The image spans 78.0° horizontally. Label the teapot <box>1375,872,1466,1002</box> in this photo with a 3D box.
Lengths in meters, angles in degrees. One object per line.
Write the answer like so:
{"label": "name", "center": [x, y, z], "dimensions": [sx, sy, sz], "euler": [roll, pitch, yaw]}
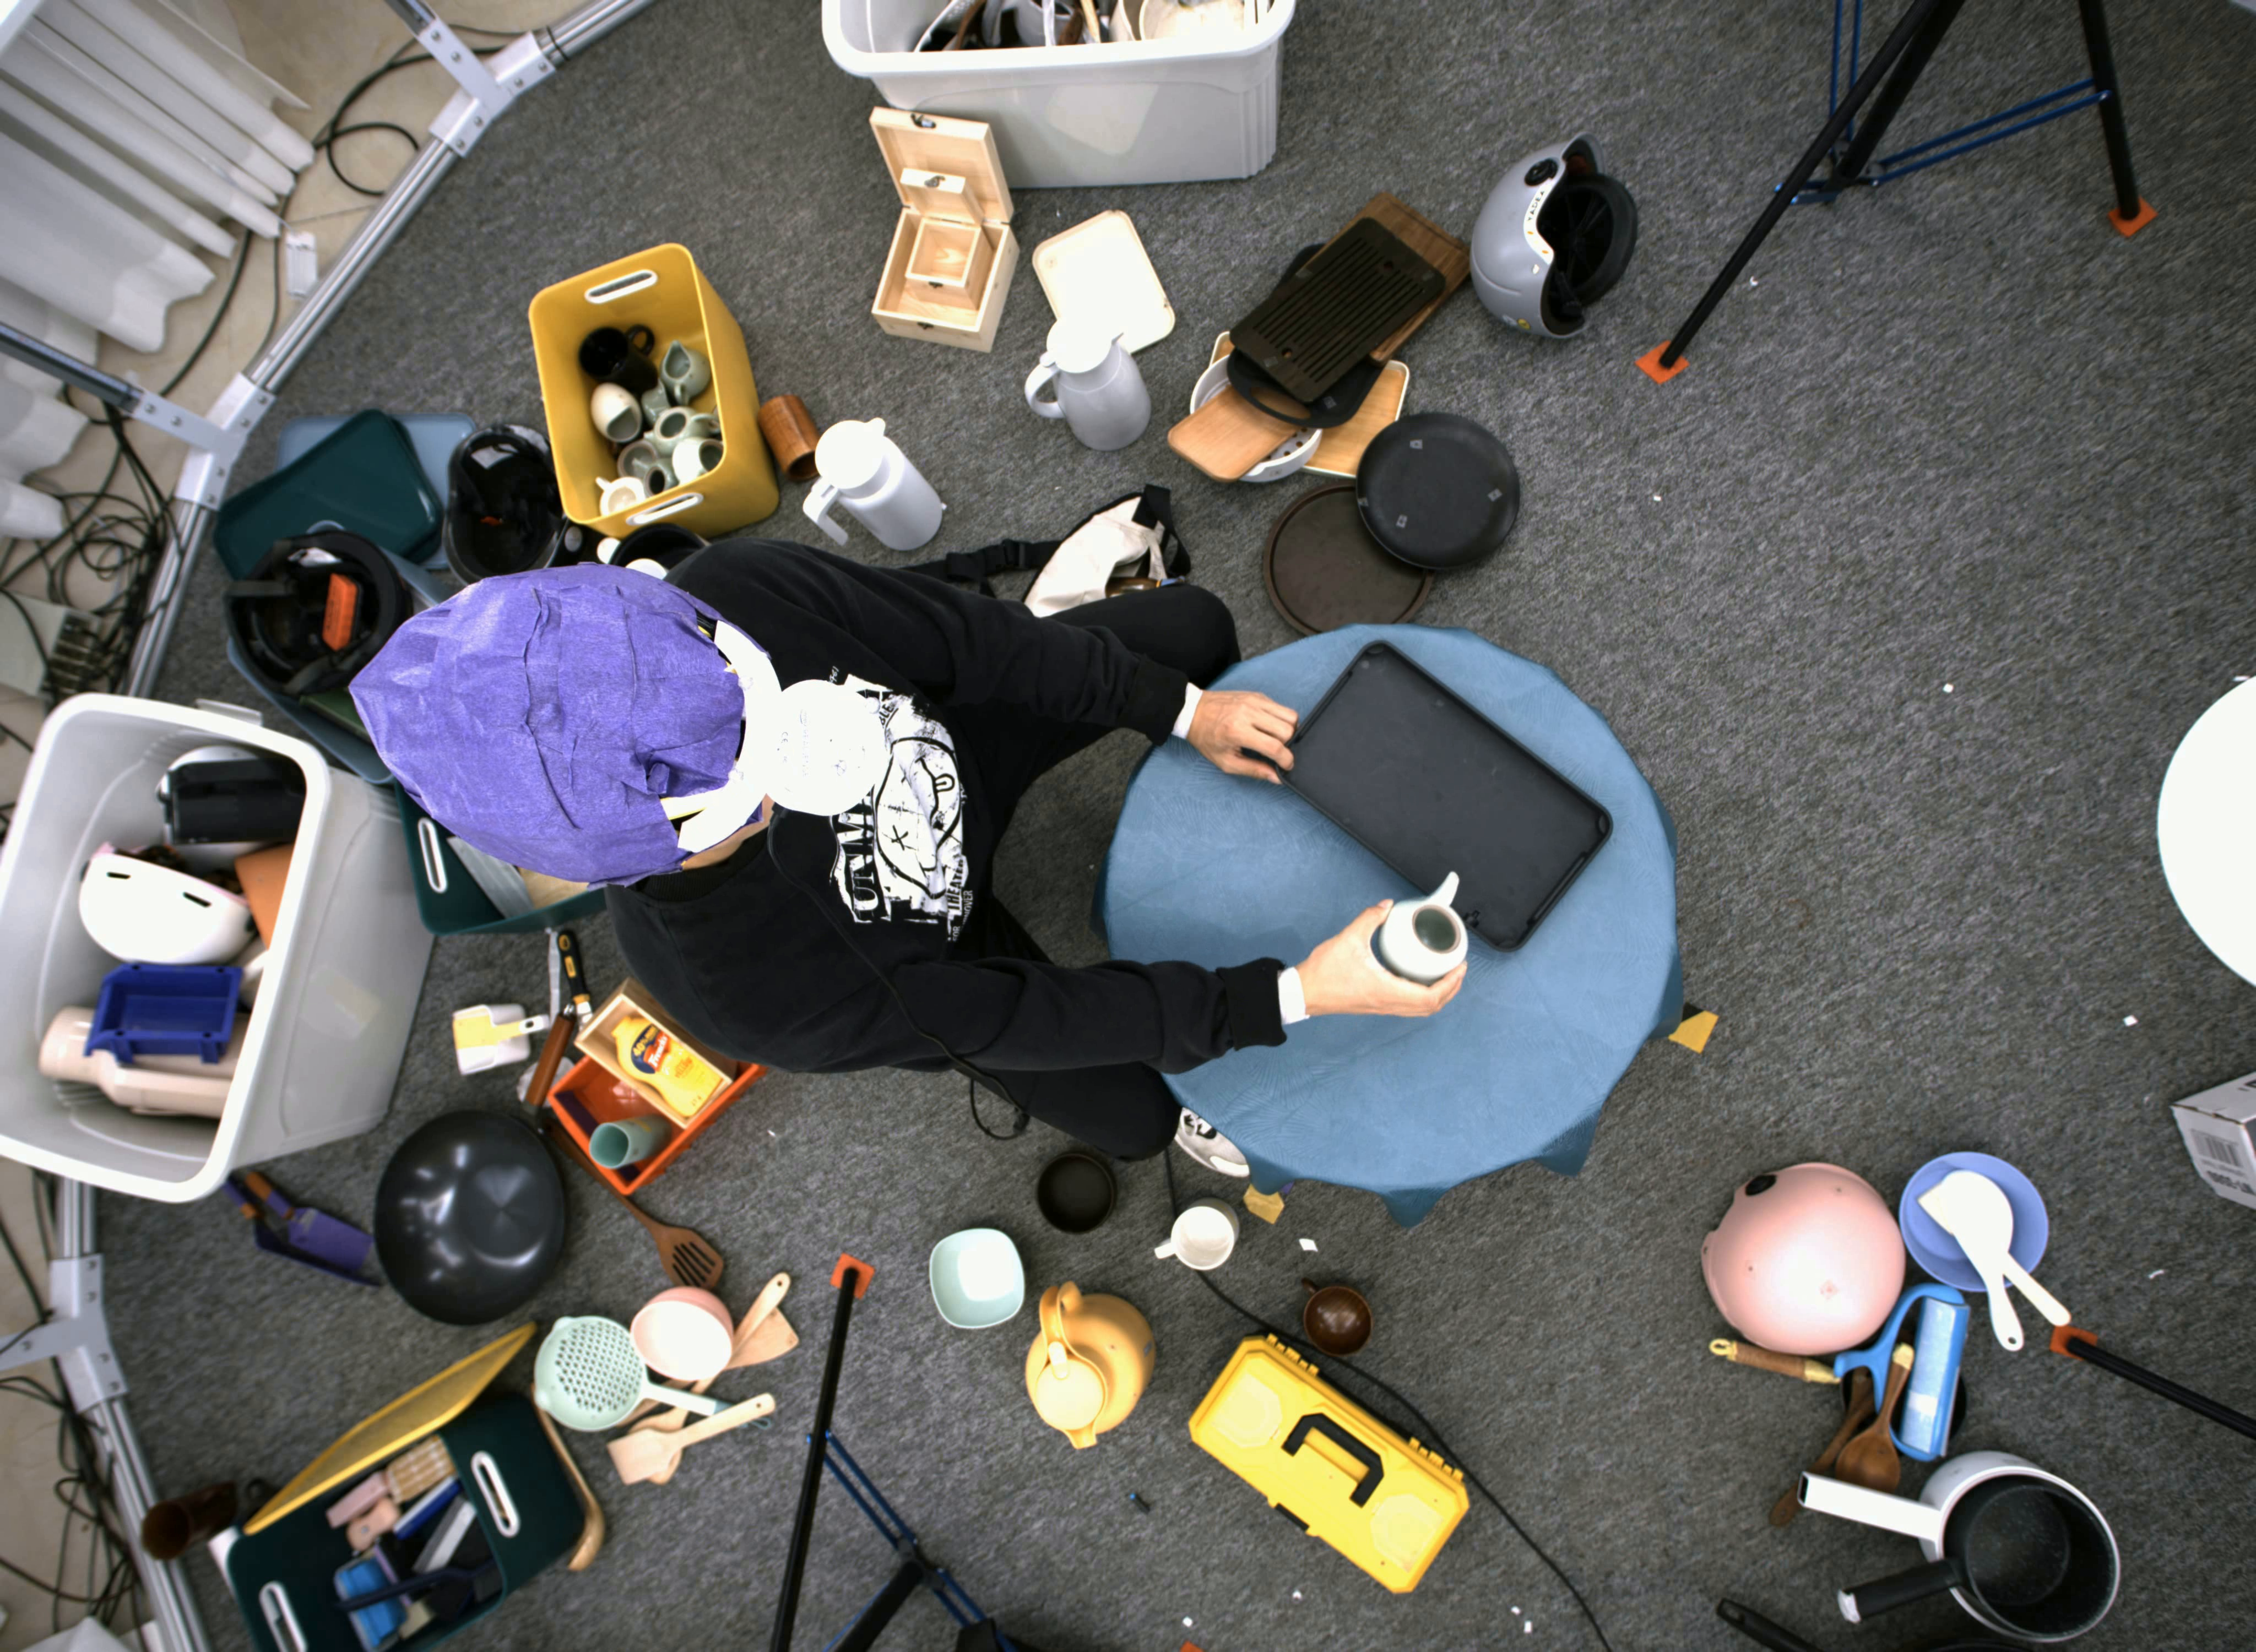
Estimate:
{"label": "teapot", "center": [0.283, 0.111, 1.335], "dimensions": [0.088, 0.076, 0.140], "euler": [30, 57, -1]}

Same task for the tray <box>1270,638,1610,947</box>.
{"label": "tray", "center": [0.319, -0.037, 1.422], "dimensions": [0.317, 0.037, 0.185], "euler": [36, 94, 5]}
